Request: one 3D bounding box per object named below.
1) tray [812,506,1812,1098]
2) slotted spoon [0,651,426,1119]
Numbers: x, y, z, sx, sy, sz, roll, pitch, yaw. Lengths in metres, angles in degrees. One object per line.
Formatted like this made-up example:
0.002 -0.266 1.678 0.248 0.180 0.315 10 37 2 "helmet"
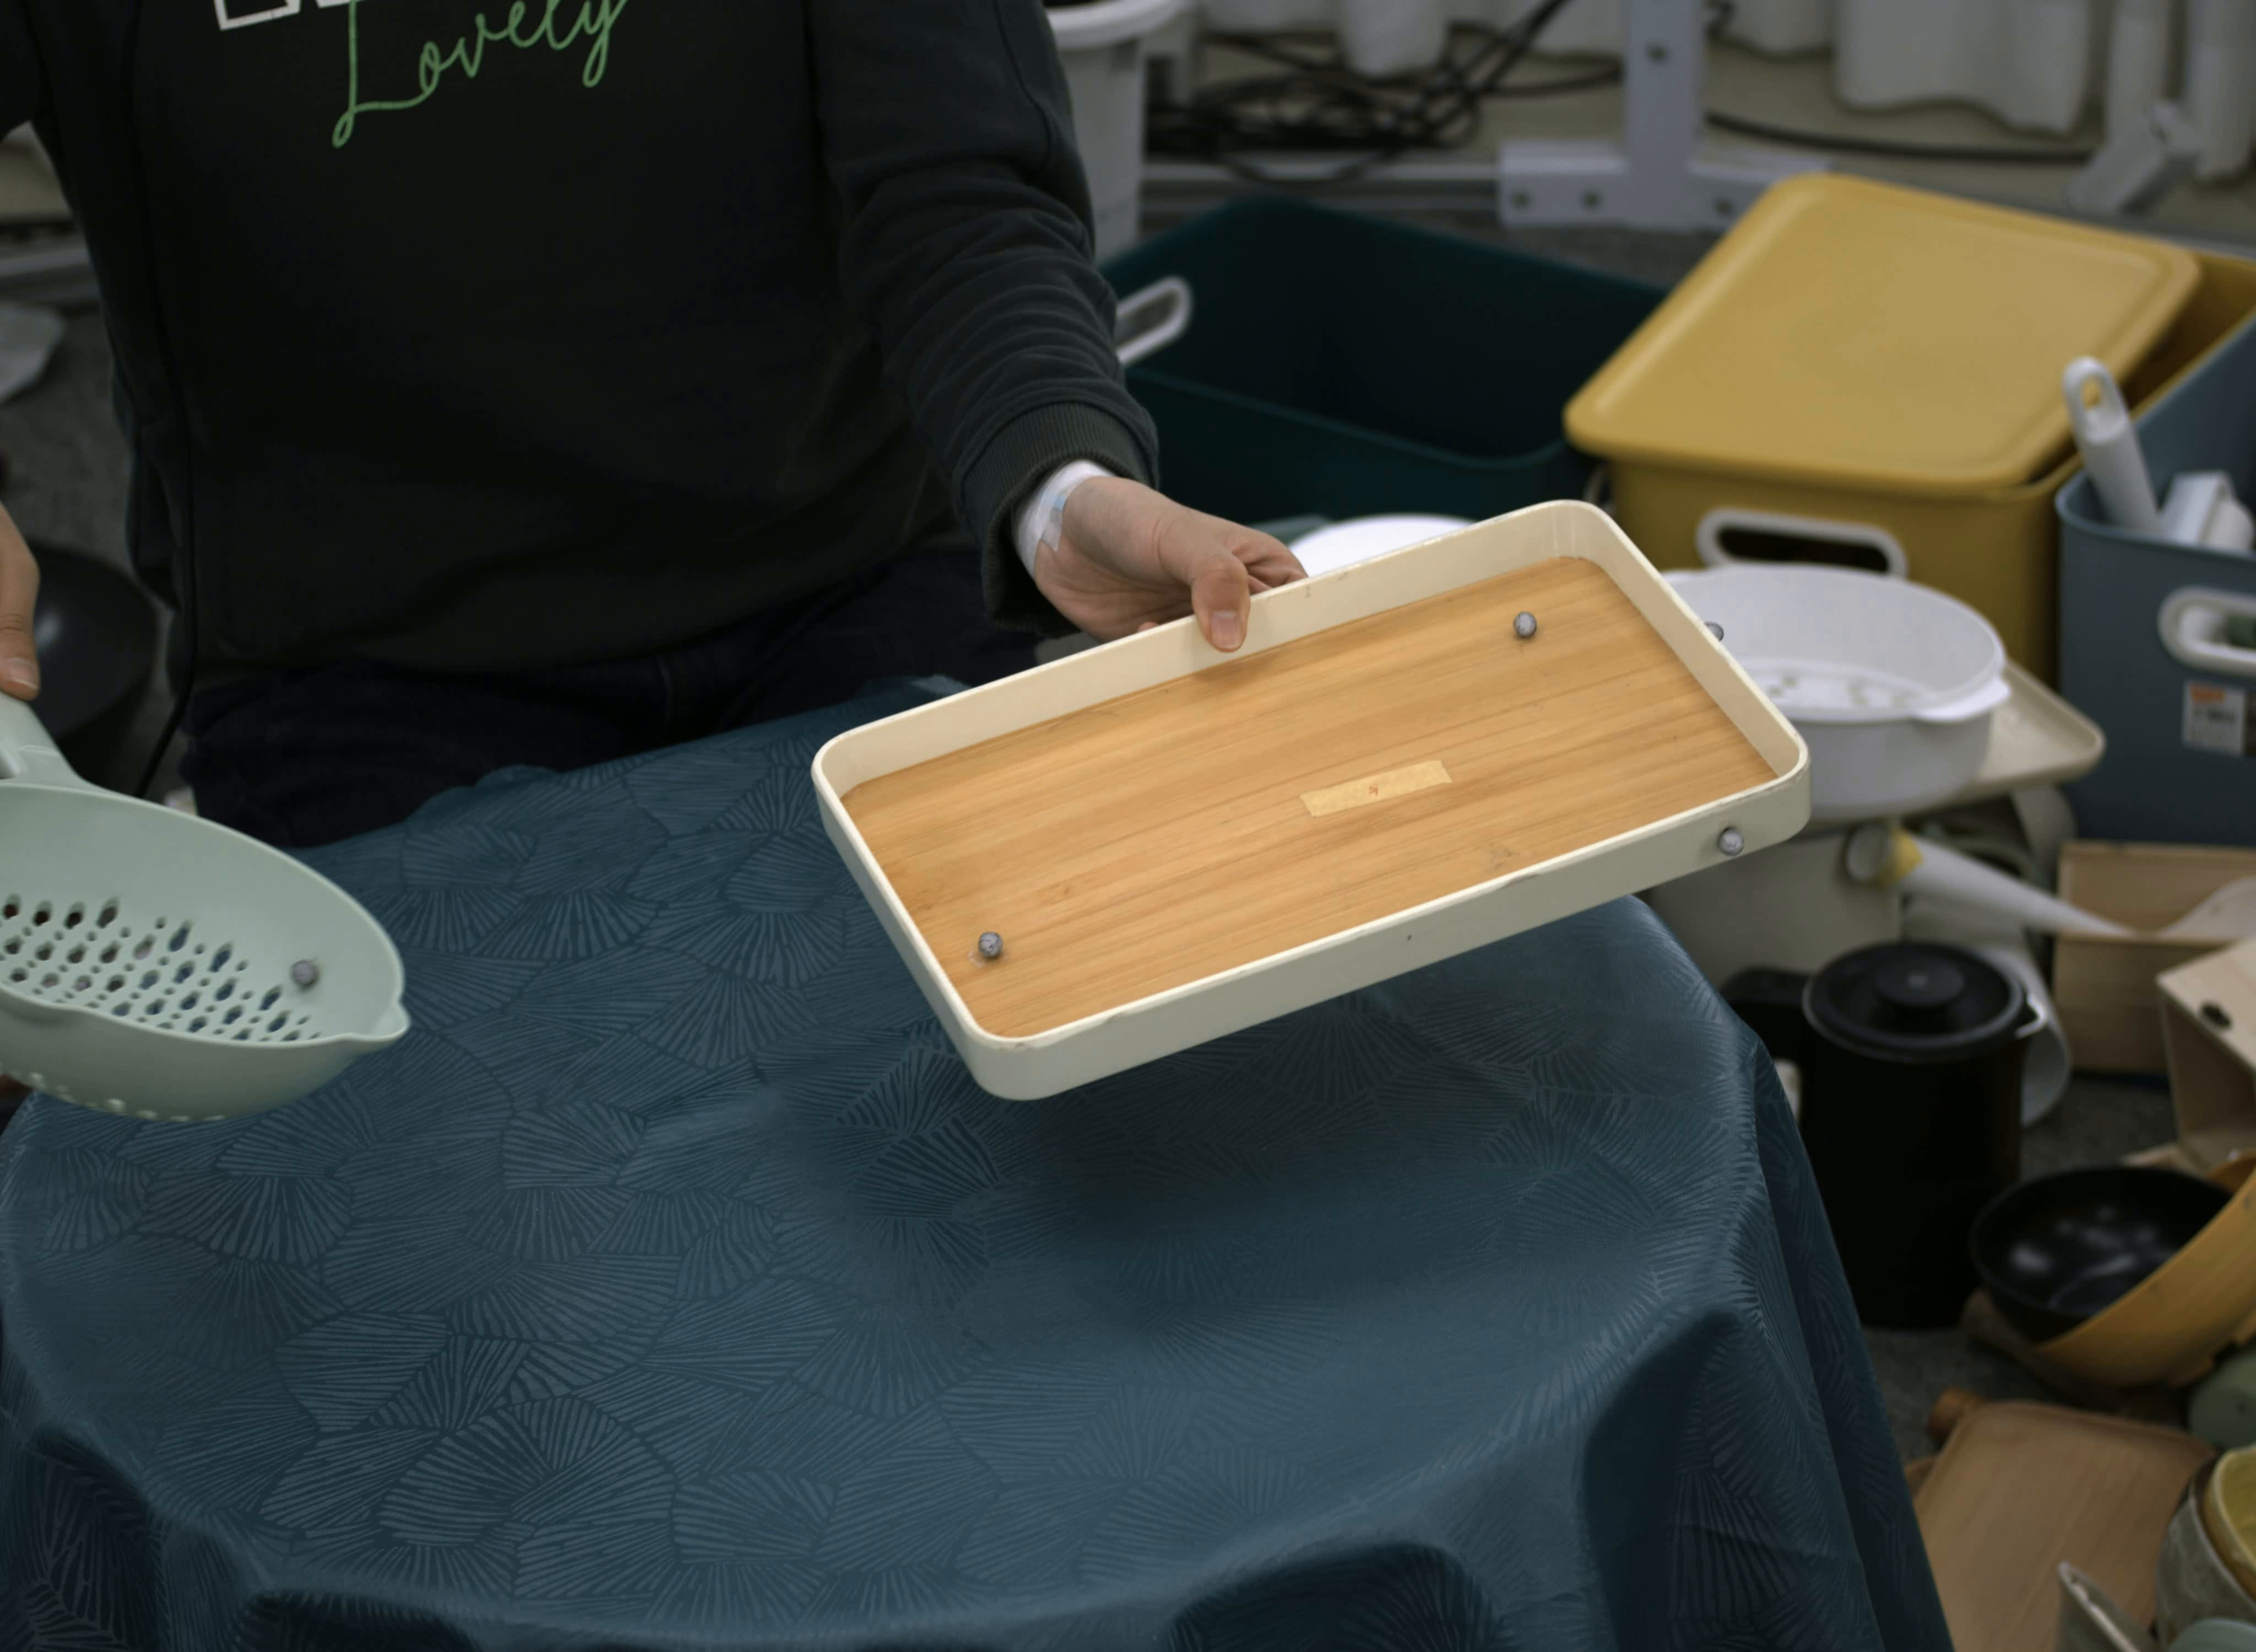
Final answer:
0.060 -0.012 1.891 0.301 0.027 0.193 -18 37 -14 "tray"
-0.350 -0.008 1.831 0.169 0.074 0.363 9 30 -33 "slotted spoon"
